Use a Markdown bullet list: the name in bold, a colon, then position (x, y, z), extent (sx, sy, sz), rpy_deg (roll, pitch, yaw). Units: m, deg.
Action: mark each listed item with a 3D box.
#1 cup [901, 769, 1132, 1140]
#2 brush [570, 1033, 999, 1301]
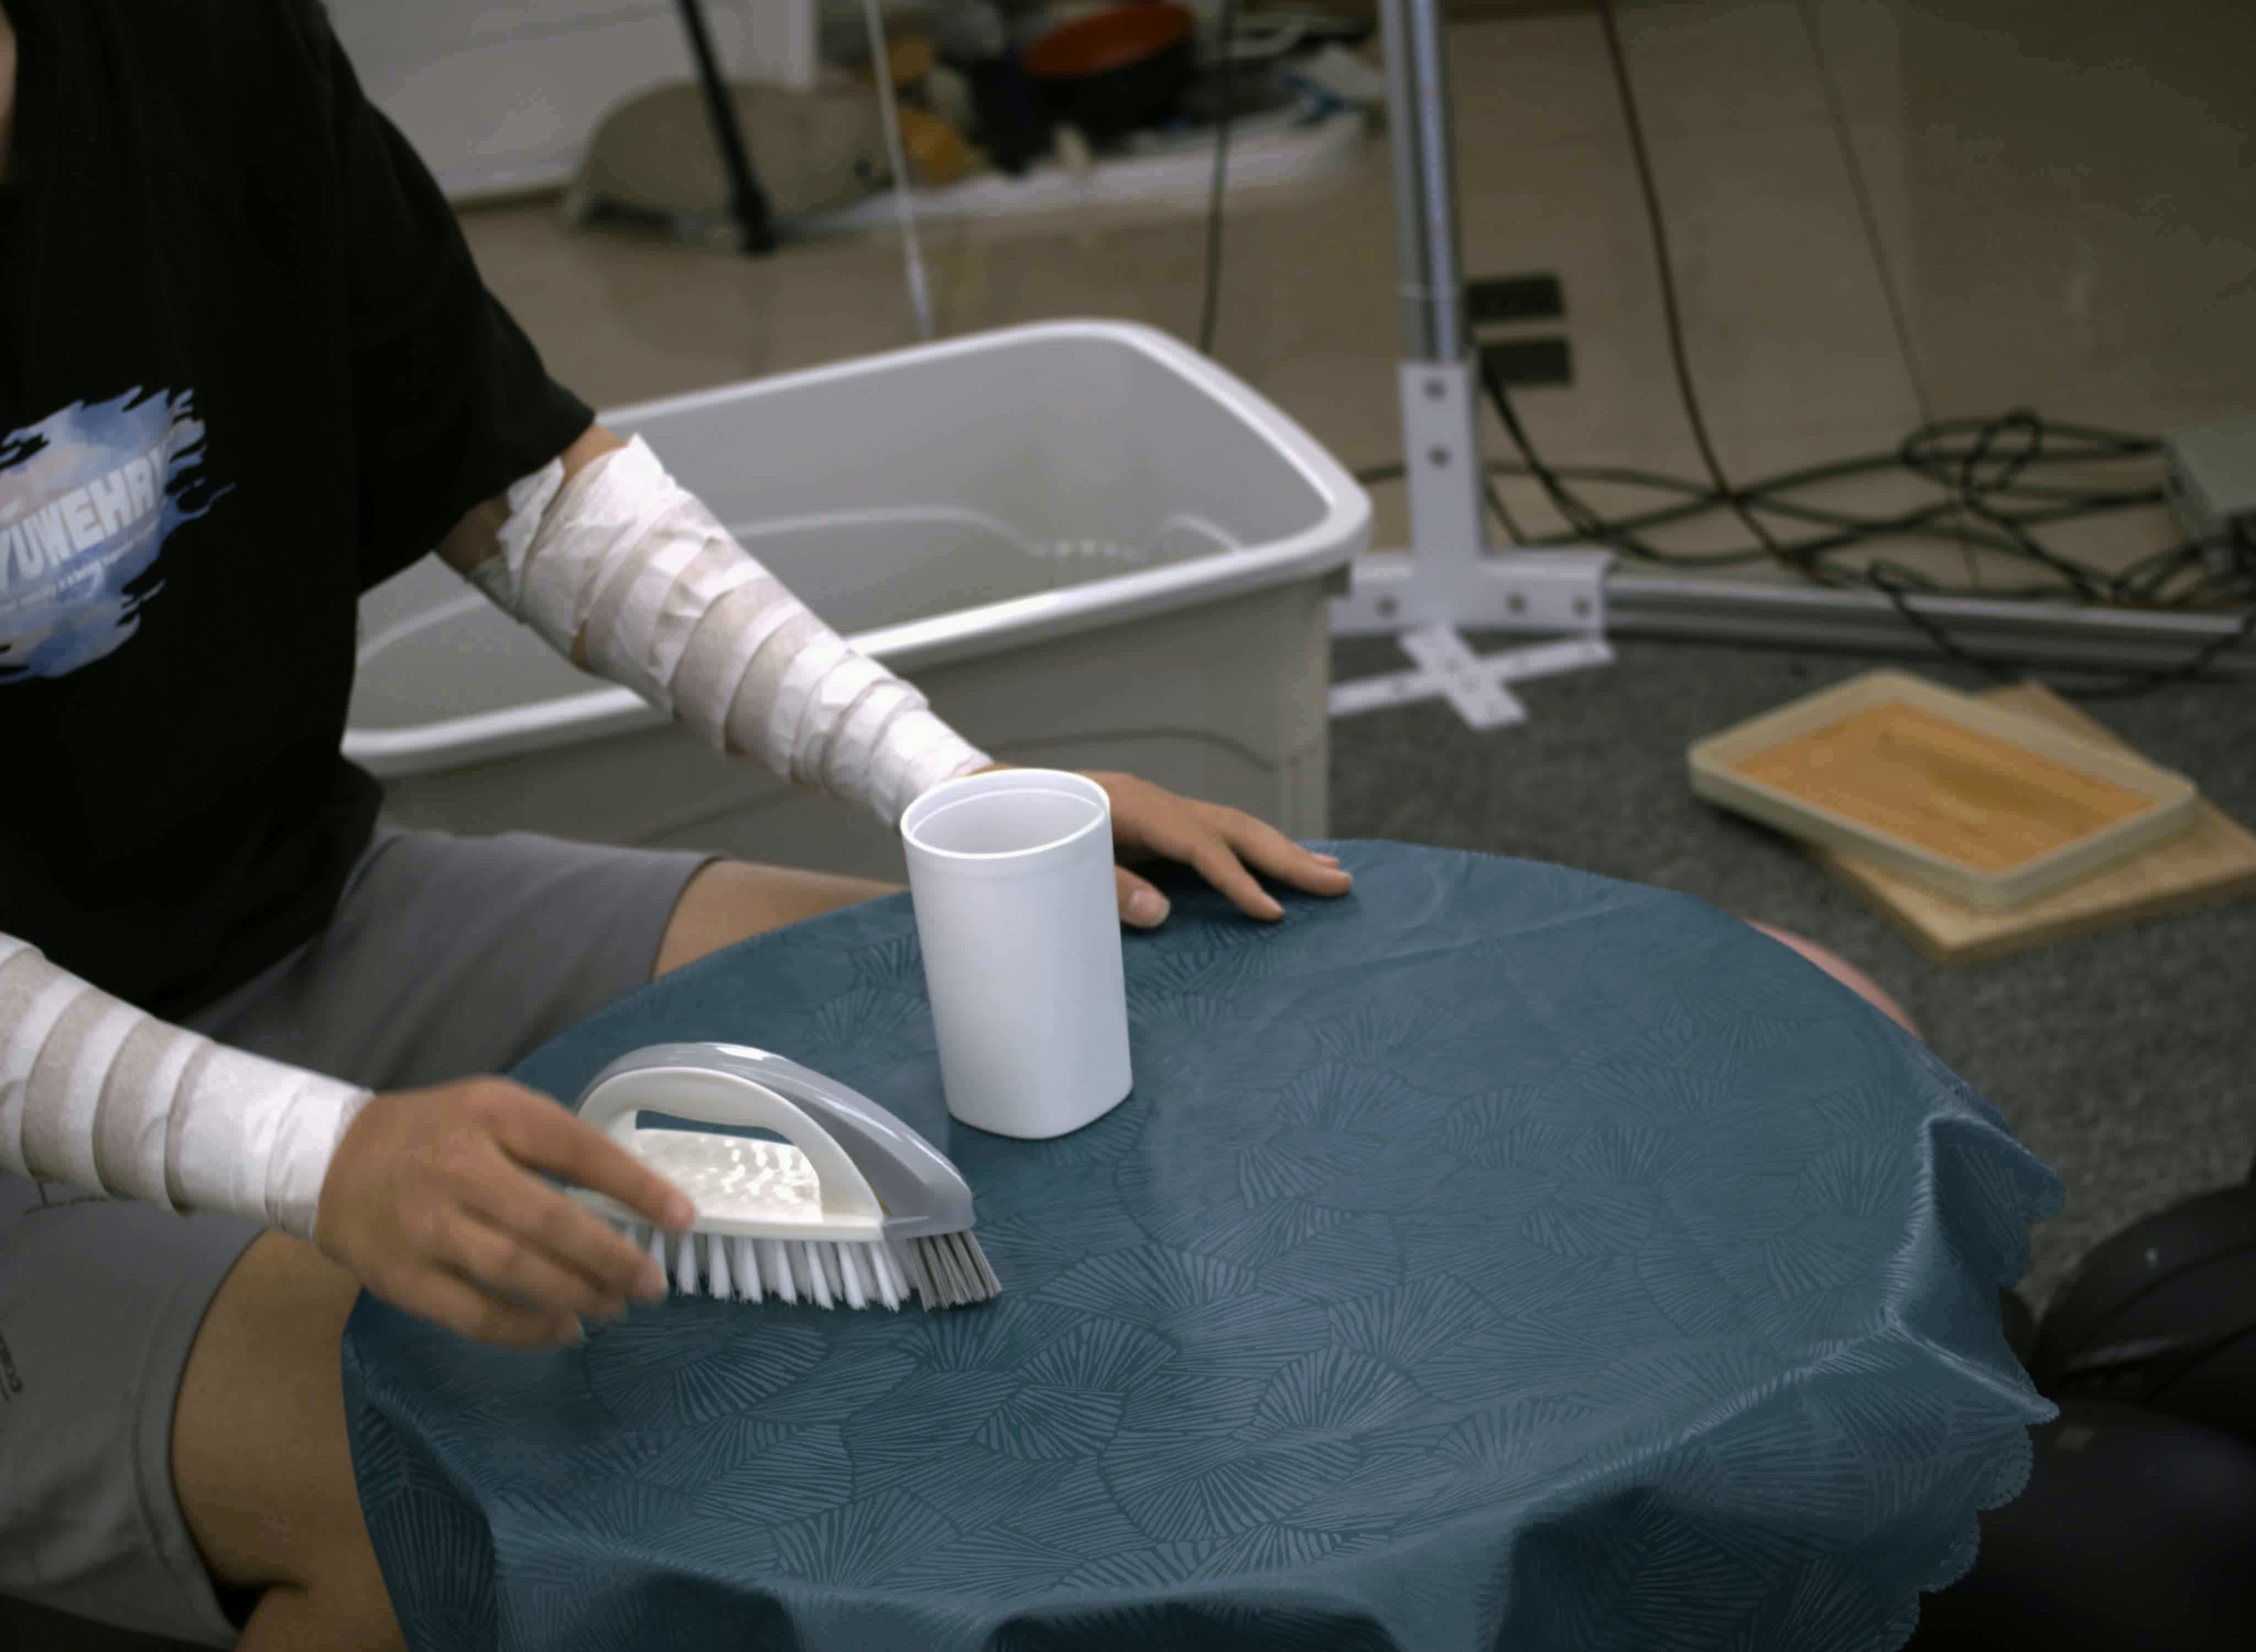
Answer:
- **cup**: position (-0.041, 0.051, 2.199), extent (0.081, 0.127, 0.080), rpy_deg (-5, 26, 3)
- **brush**: position (-0.130, 0.123, 2.104), extent (0.175, 0.096, 0.060), rpy_deg (9, 35, 27)
